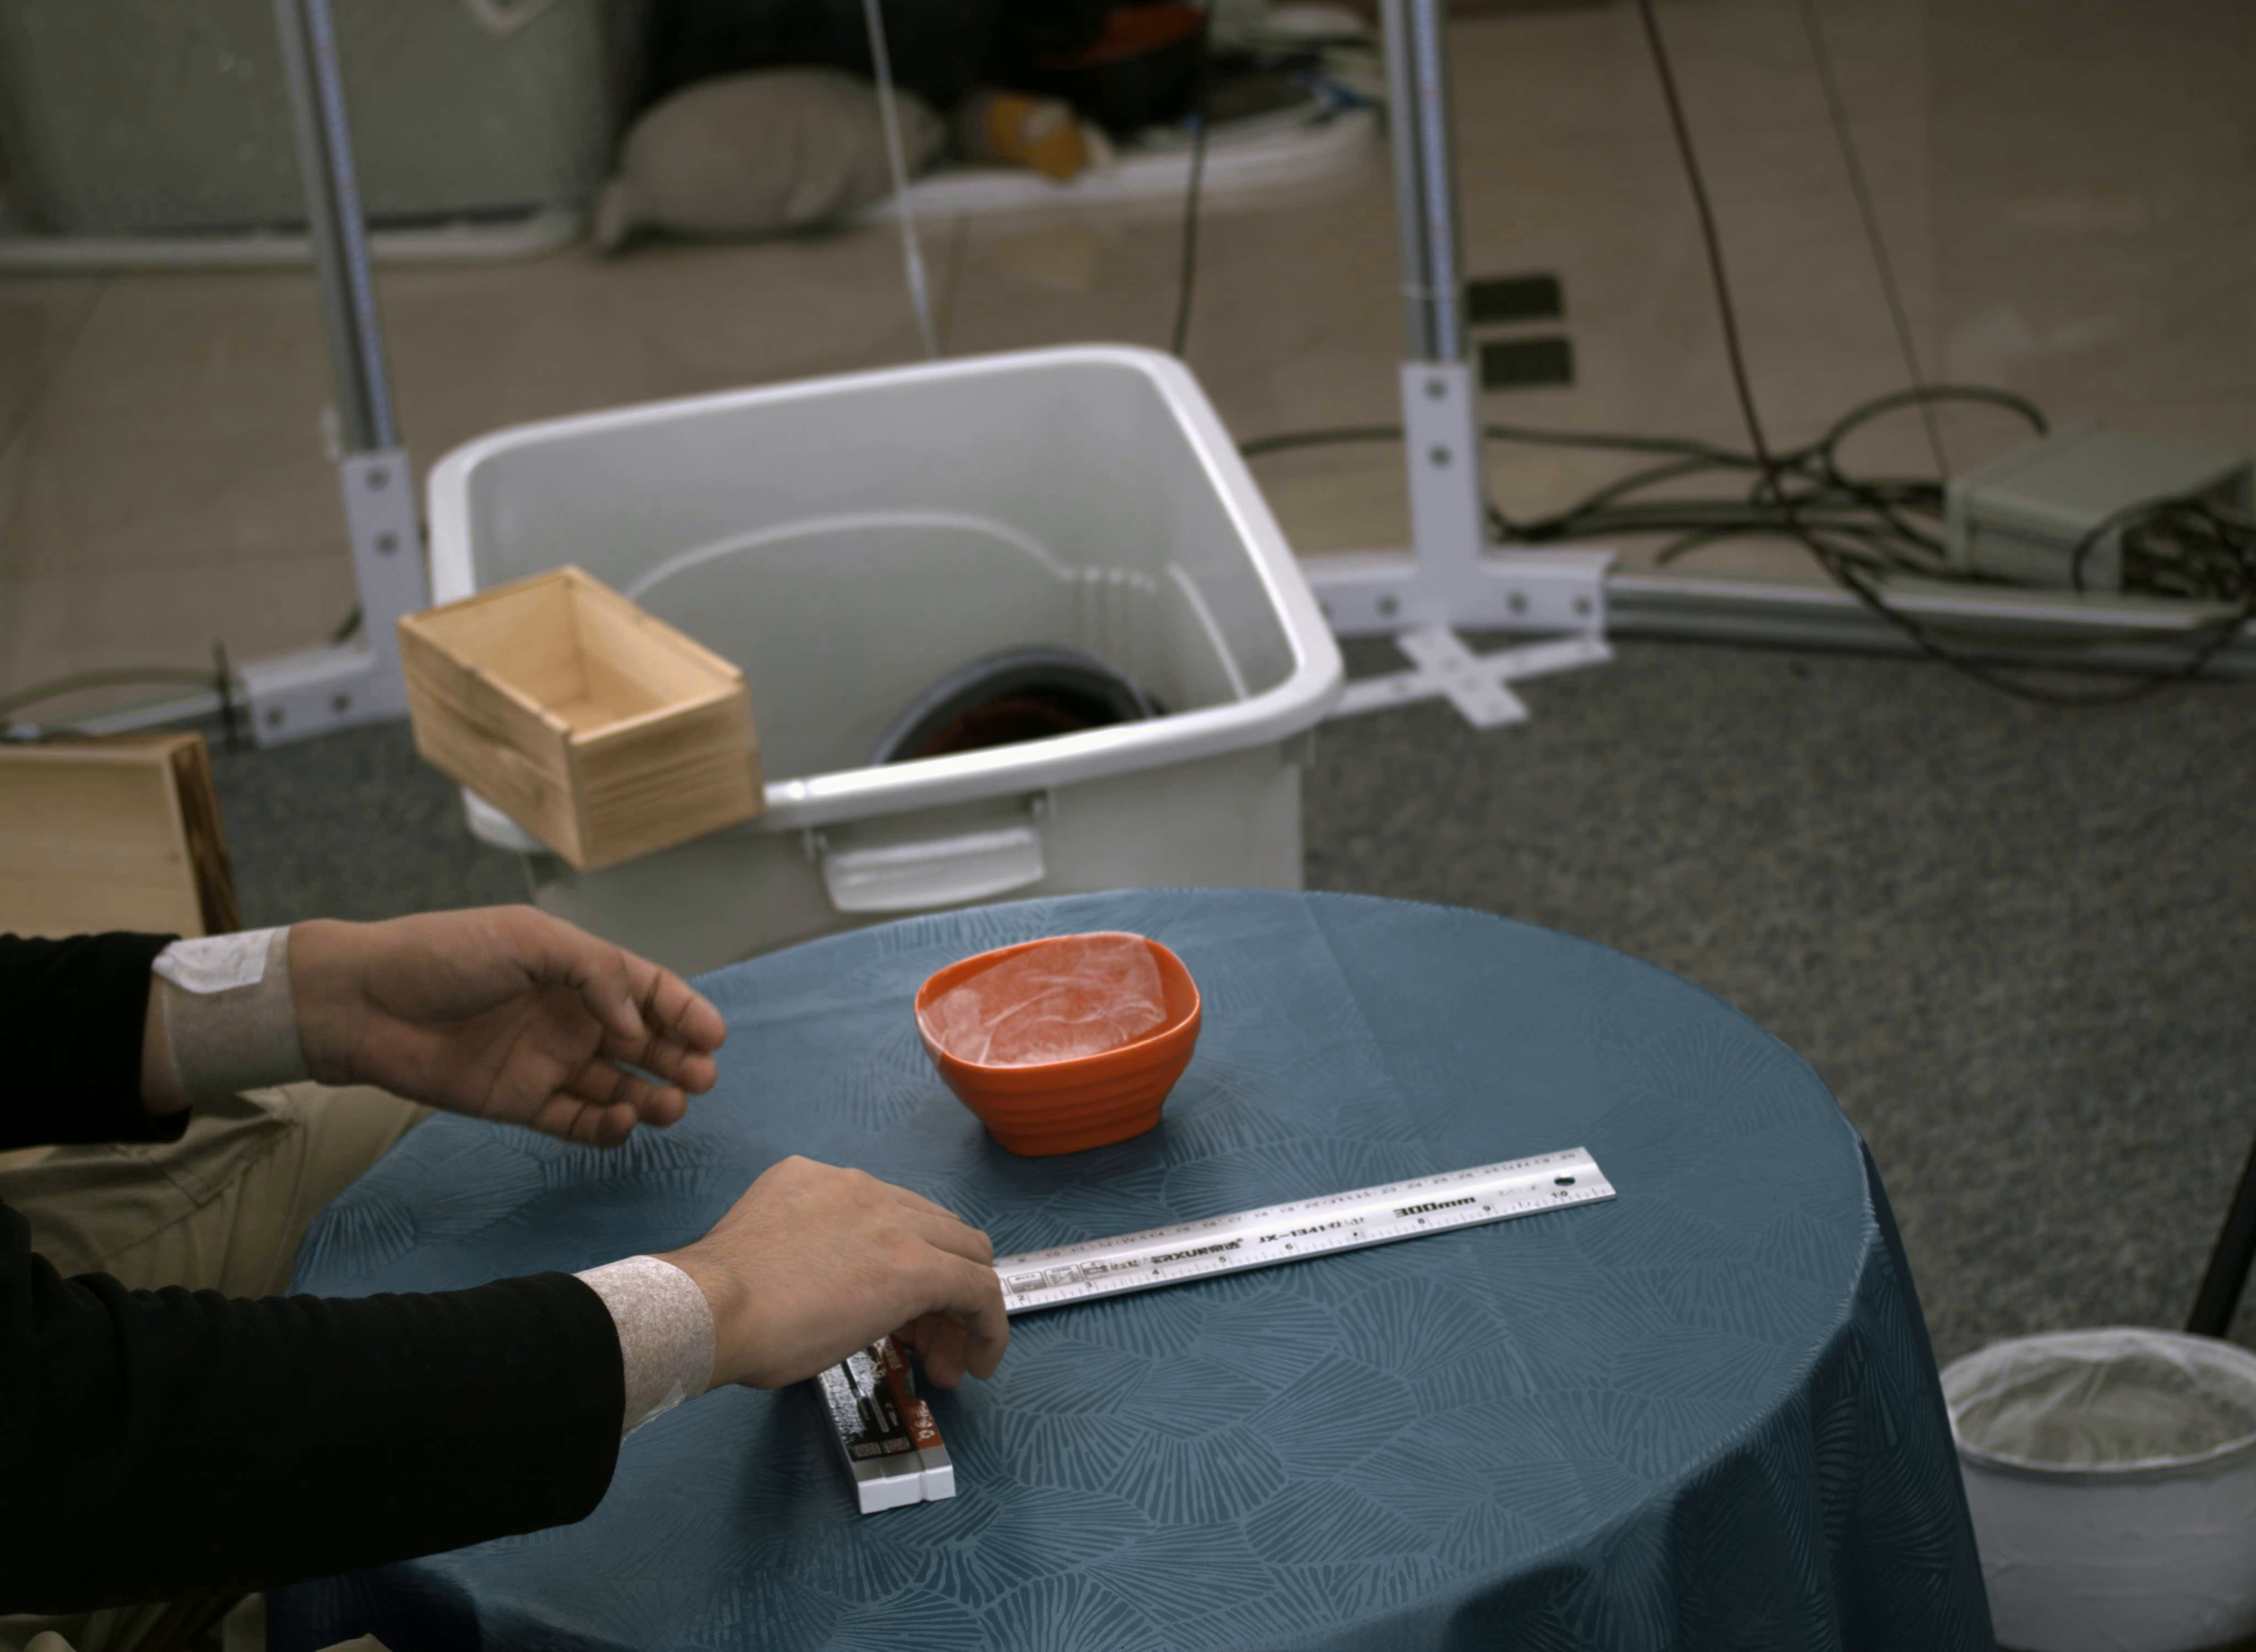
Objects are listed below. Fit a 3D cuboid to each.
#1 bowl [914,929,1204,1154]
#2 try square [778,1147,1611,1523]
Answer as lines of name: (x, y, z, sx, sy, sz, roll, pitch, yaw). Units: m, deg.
bowl: (-0.025, 0.088, 2.200, 0.119, 0.052, 0.117, -4, 26, 2)
try square: (0.036, 0.179, 2.049, 0.312, 0.016, 0.150, -10, 27, -10)
